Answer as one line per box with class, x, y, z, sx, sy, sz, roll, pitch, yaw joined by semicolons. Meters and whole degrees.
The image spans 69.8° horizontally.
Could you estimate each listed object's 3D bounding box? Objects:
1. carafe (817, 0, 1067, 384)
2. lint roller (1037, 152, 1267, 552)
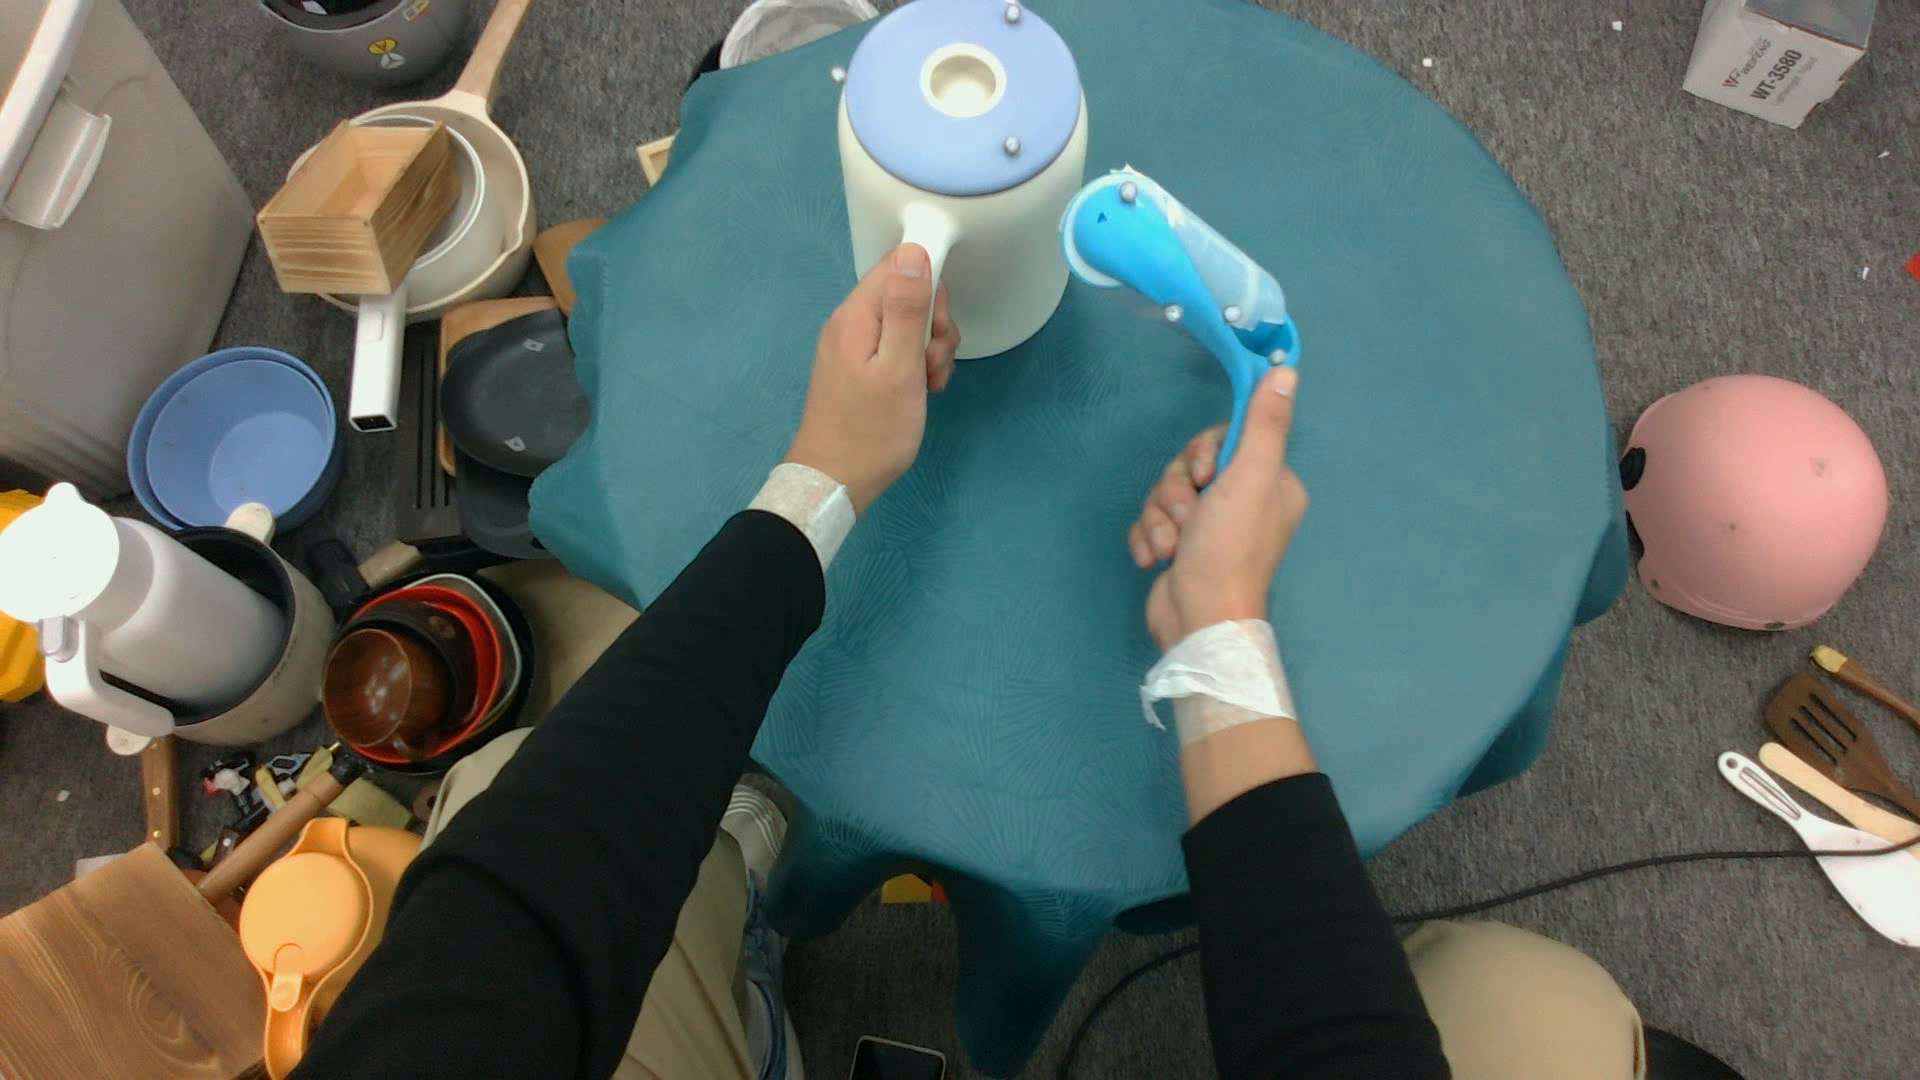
carafe;-0.015;-0.182;0.759;0.132;0.182;0.191;12;73;4
lint roller;0.110;-0.087;0.704;0.068;0.229;0.180;-11;85;24
